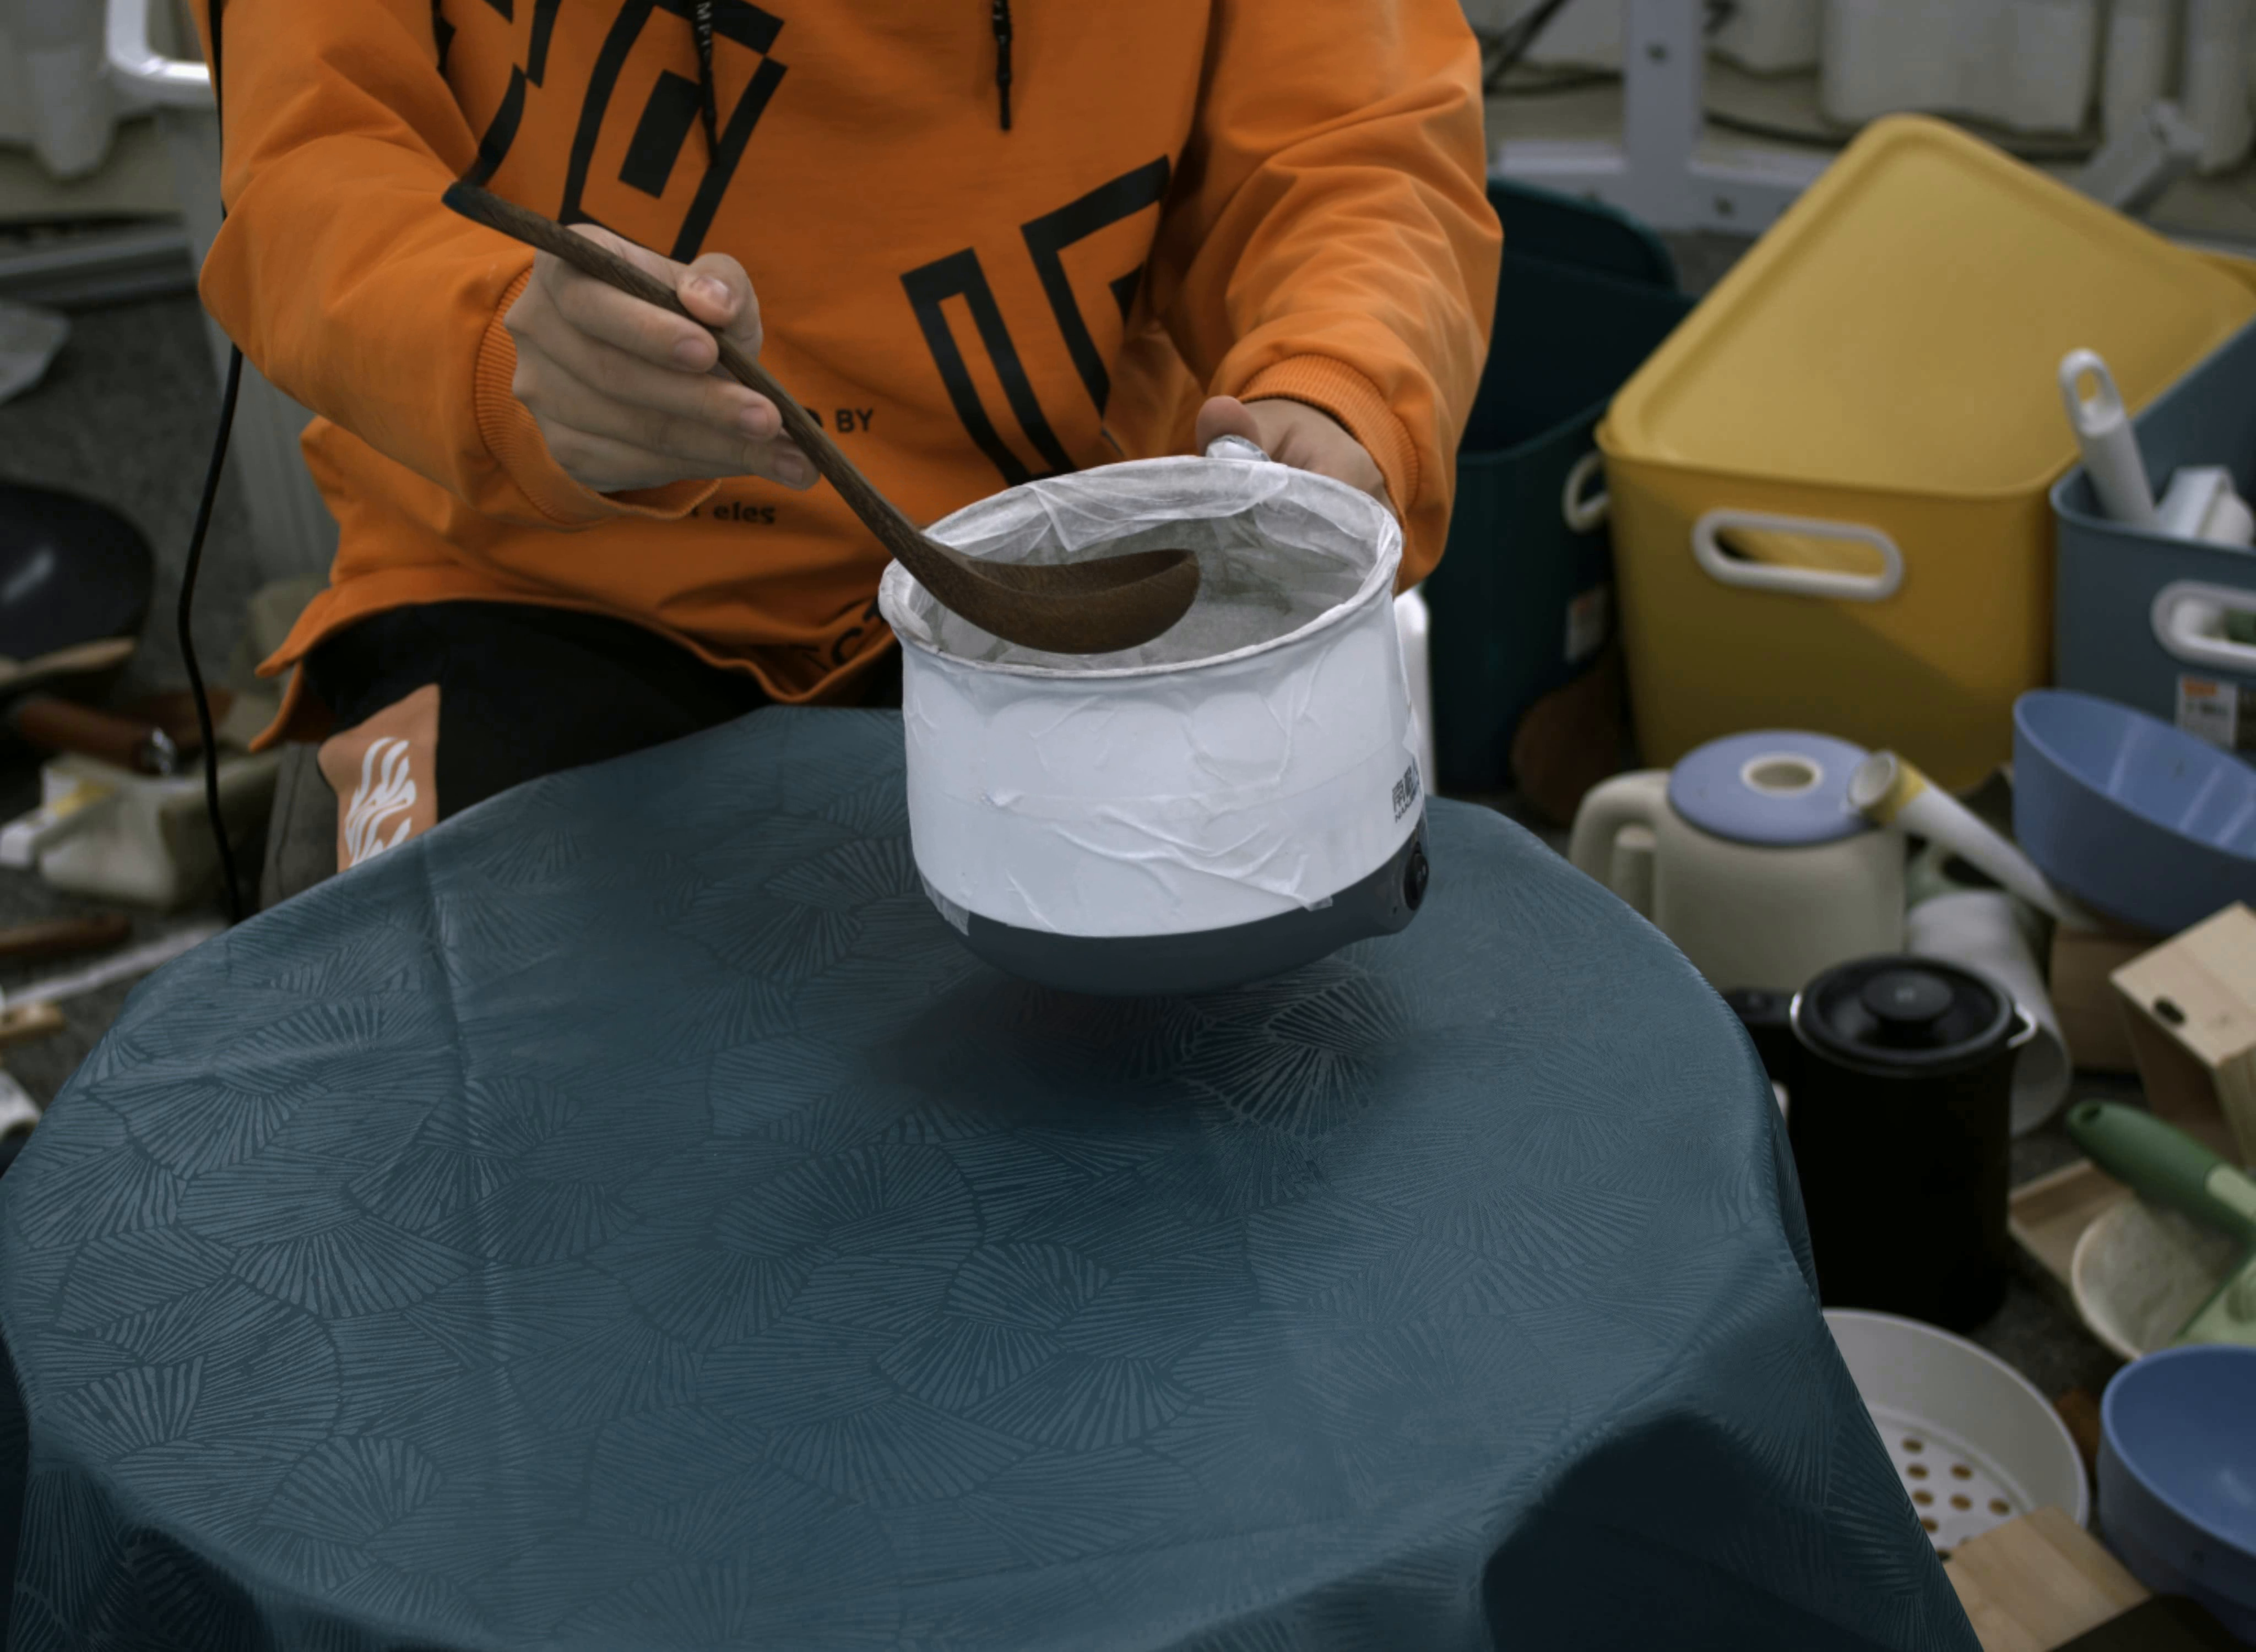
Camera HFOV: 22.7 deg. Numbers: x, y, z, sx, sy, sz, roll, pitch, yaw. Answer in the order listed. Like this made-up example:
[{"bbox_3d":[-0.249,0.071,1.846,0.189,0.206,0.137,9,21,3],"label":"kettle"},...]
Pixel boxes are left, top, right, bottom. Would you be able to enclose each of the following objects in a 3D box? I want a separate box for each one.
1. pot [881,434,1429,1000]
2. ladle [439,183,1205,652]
[{"bbox_3d":[0.019,-0.044,1.939,0.177,0.135,0.237,2,26,18],"label":"pot"},{"bbox_3d":[-0.096,-0.146,1.836,0.273,0.071,0.076,39,1,-8],"label":"ladle"}]
